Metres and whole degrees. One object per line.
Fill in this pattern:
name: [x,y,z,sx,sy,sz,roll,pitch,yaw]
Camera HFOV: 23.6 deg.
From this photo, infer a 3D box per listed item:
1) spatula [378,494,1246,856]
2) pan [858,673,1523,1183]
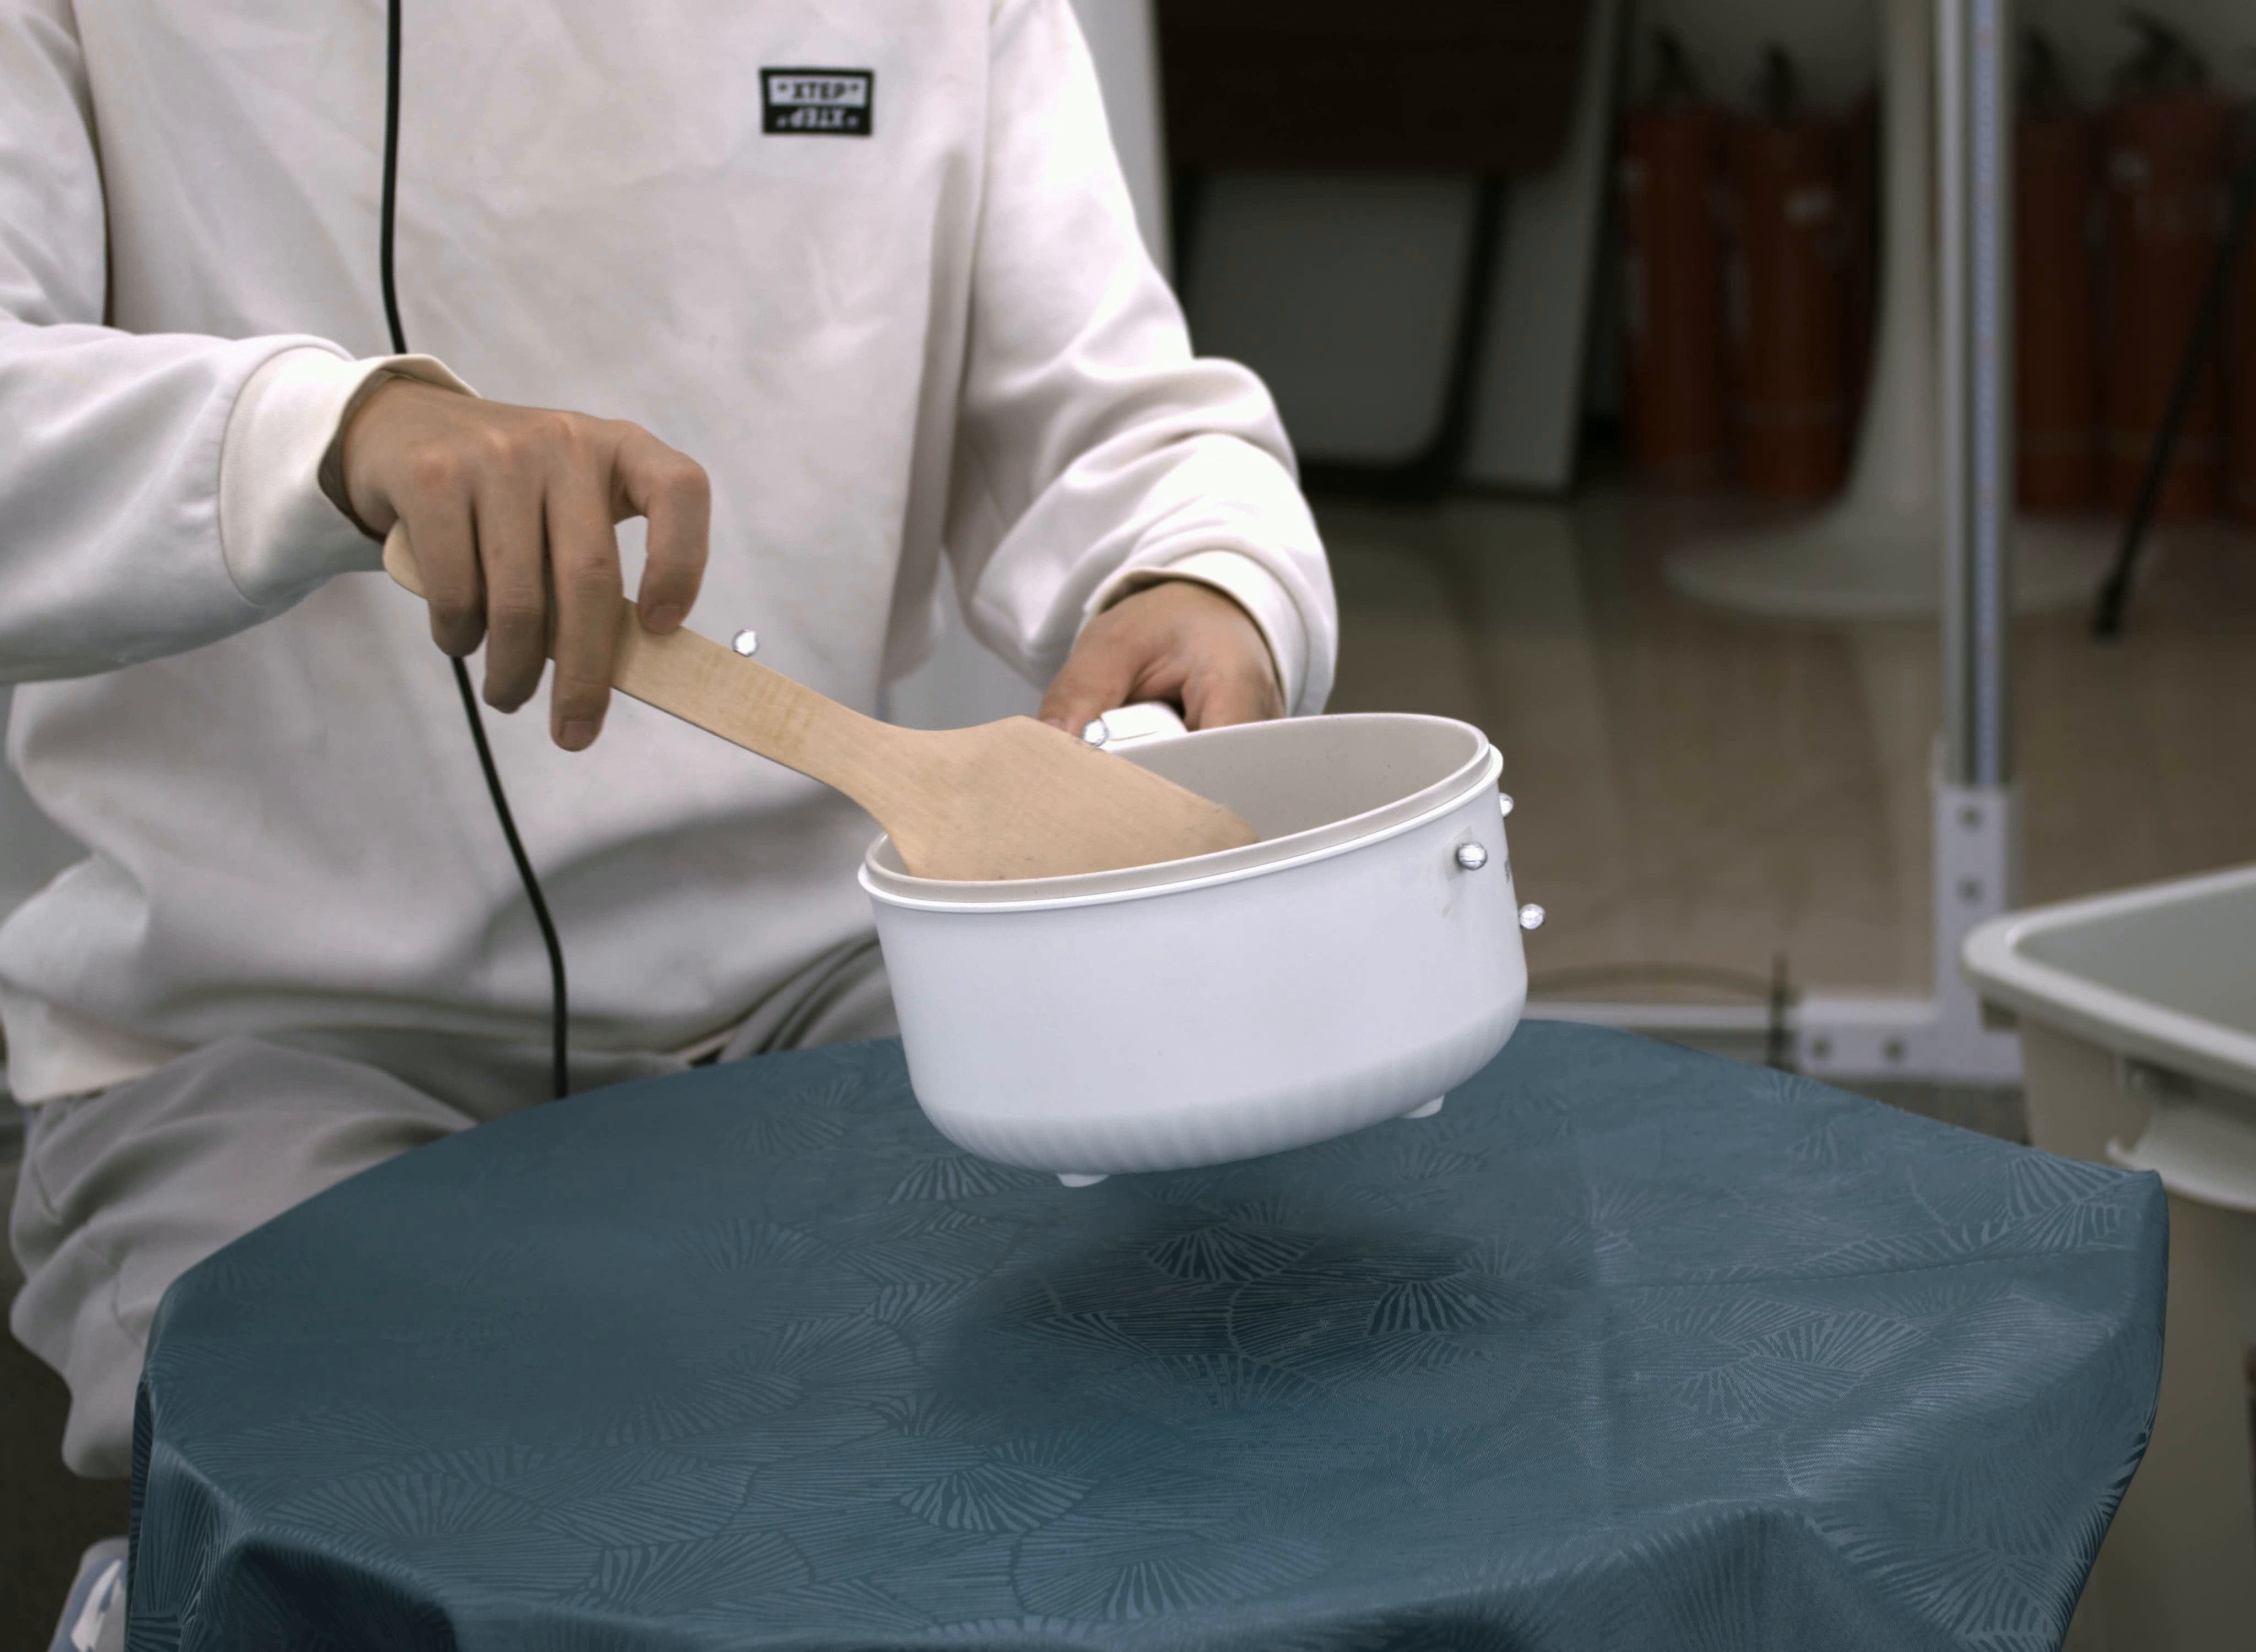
spatula: [-0.103,-0.034,1.649,0.293,0.073,0.010,26,-5,15]
pan: [0.016,0.024,1.728,0.198,0.103,0.356,-12,10,-3]
